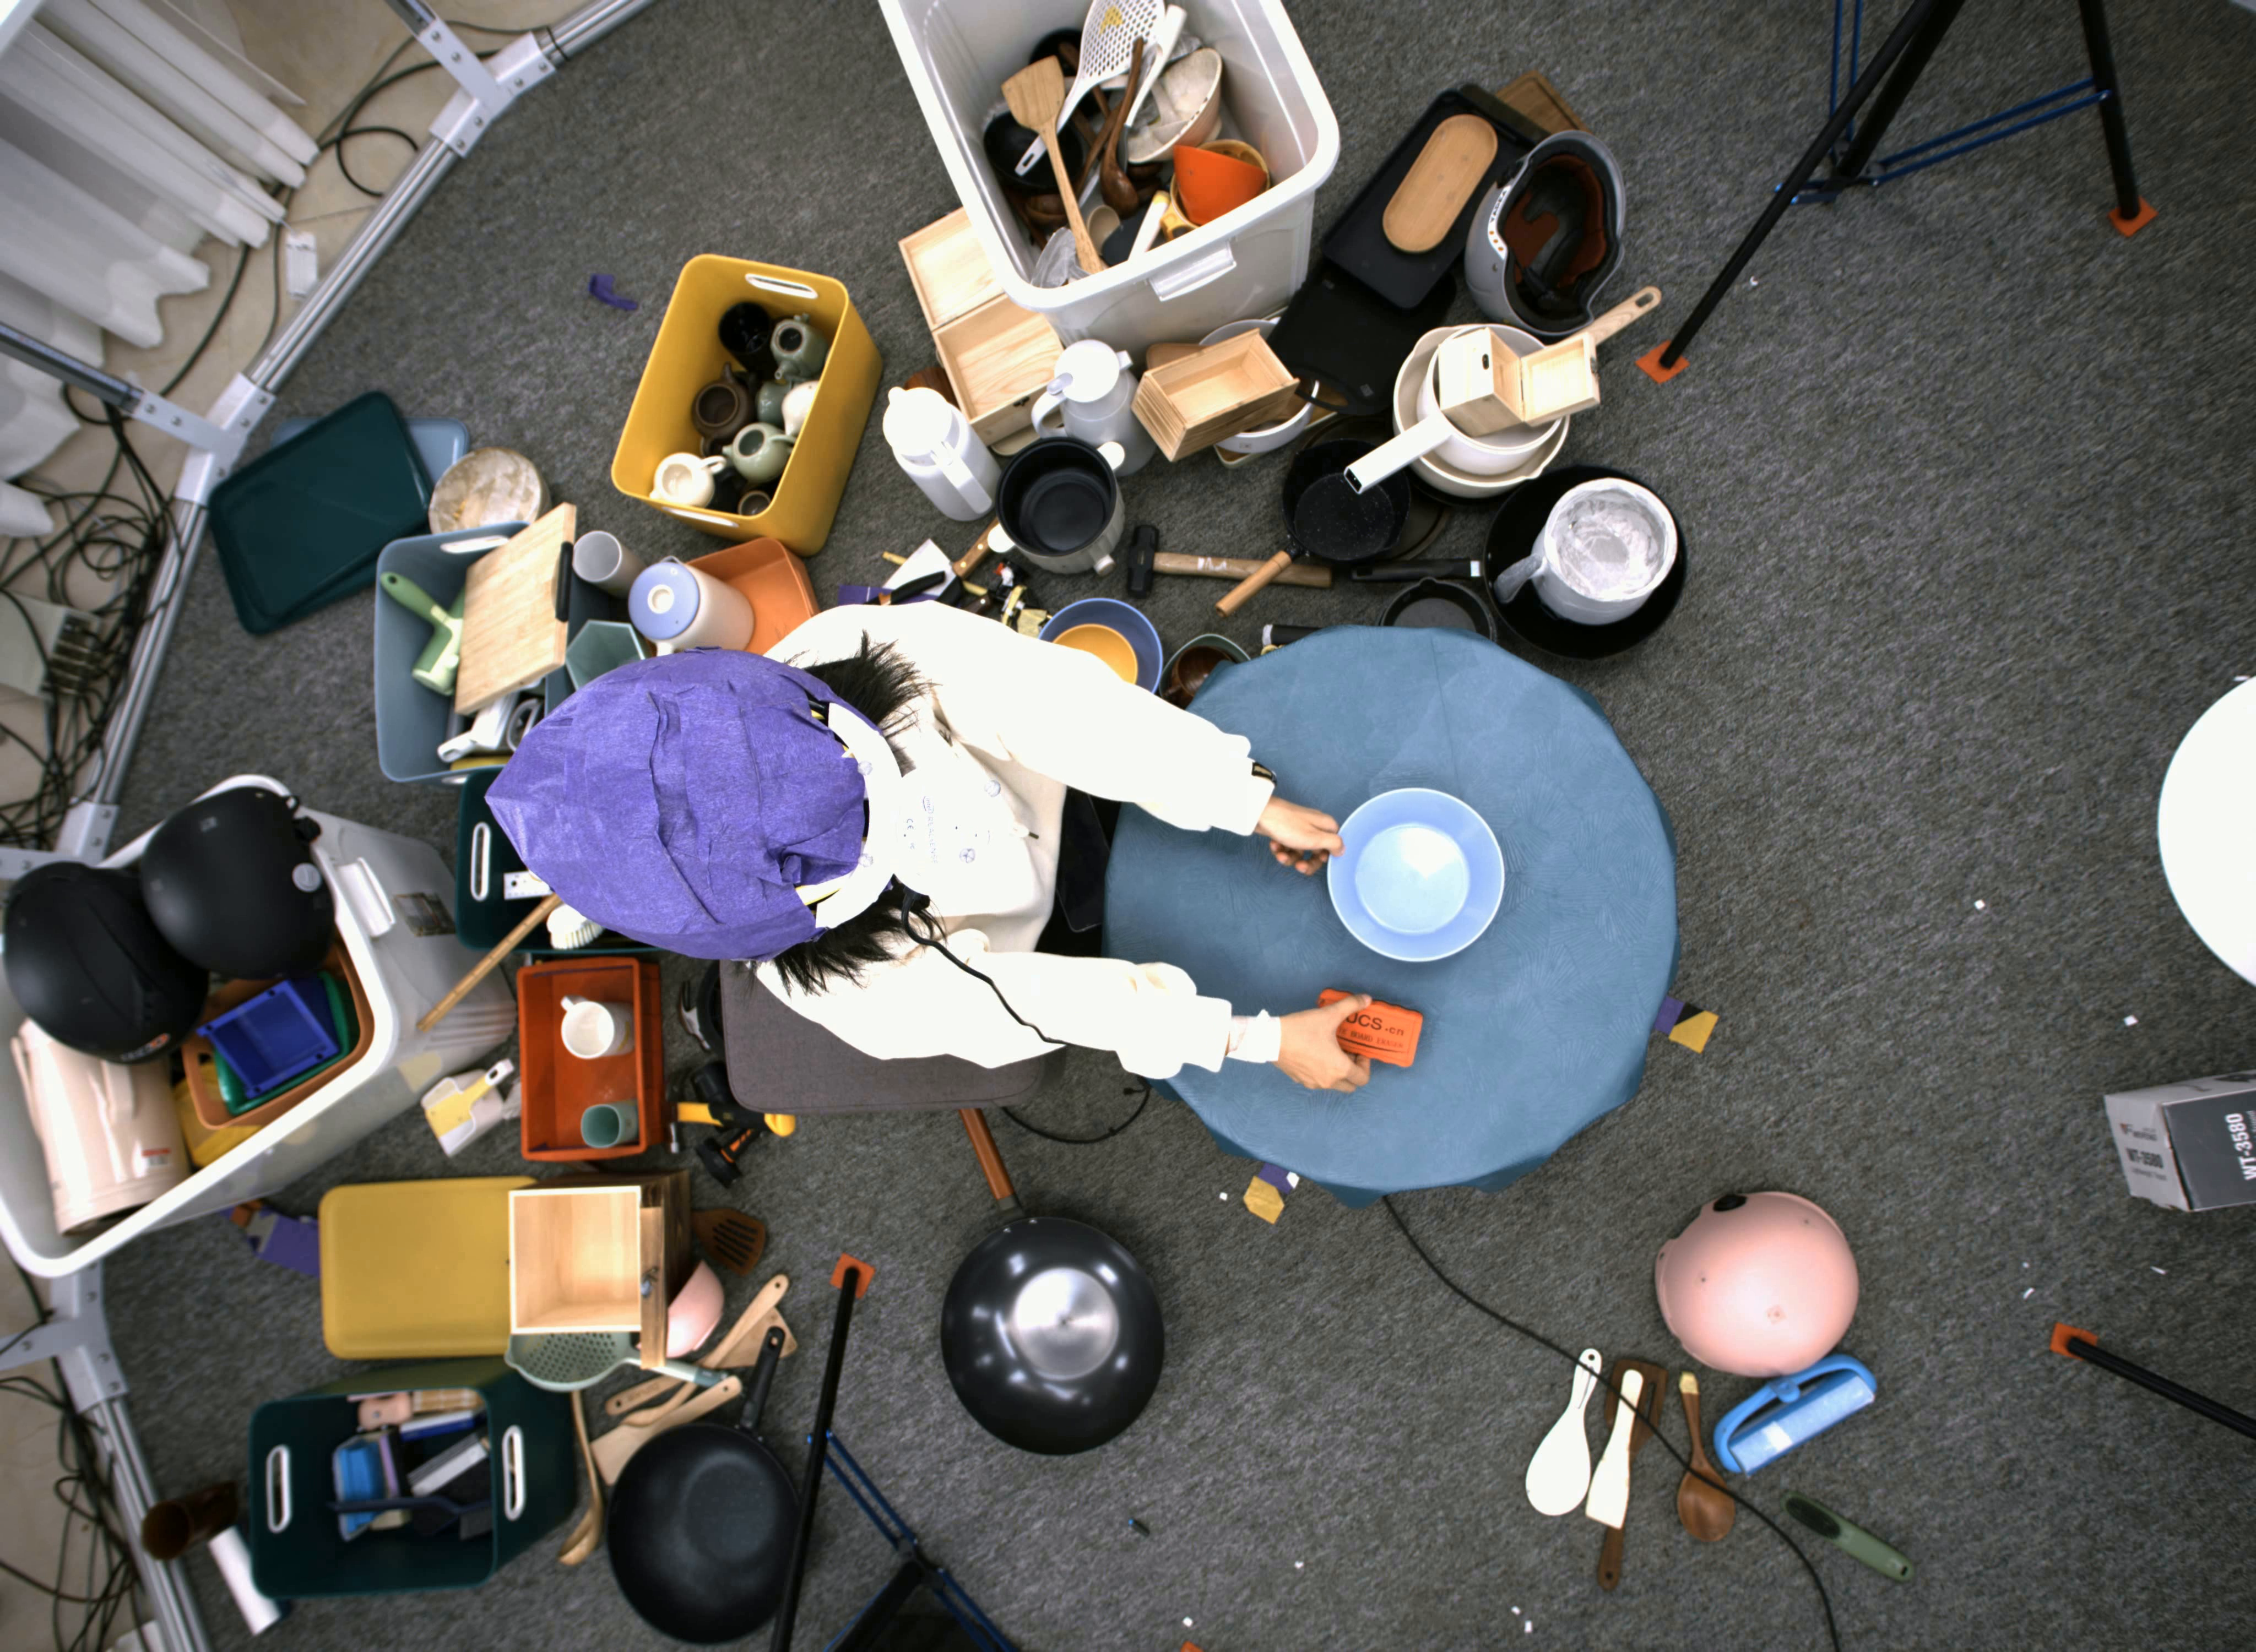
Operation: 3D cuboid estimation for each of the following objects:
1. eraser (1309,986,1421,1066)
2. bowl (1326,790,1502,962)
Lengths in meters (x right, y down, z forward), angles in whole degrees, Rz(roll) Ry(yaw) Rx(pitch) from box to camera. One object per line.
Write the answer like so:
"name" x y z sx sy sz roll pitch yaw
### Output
"eraser" 0.246 0.206 1.434 0.108 0.022 0.060 14 107 12
"bowl" 0.292 0.051 1.420 0.177 0.070 0.175 -1 86 9
